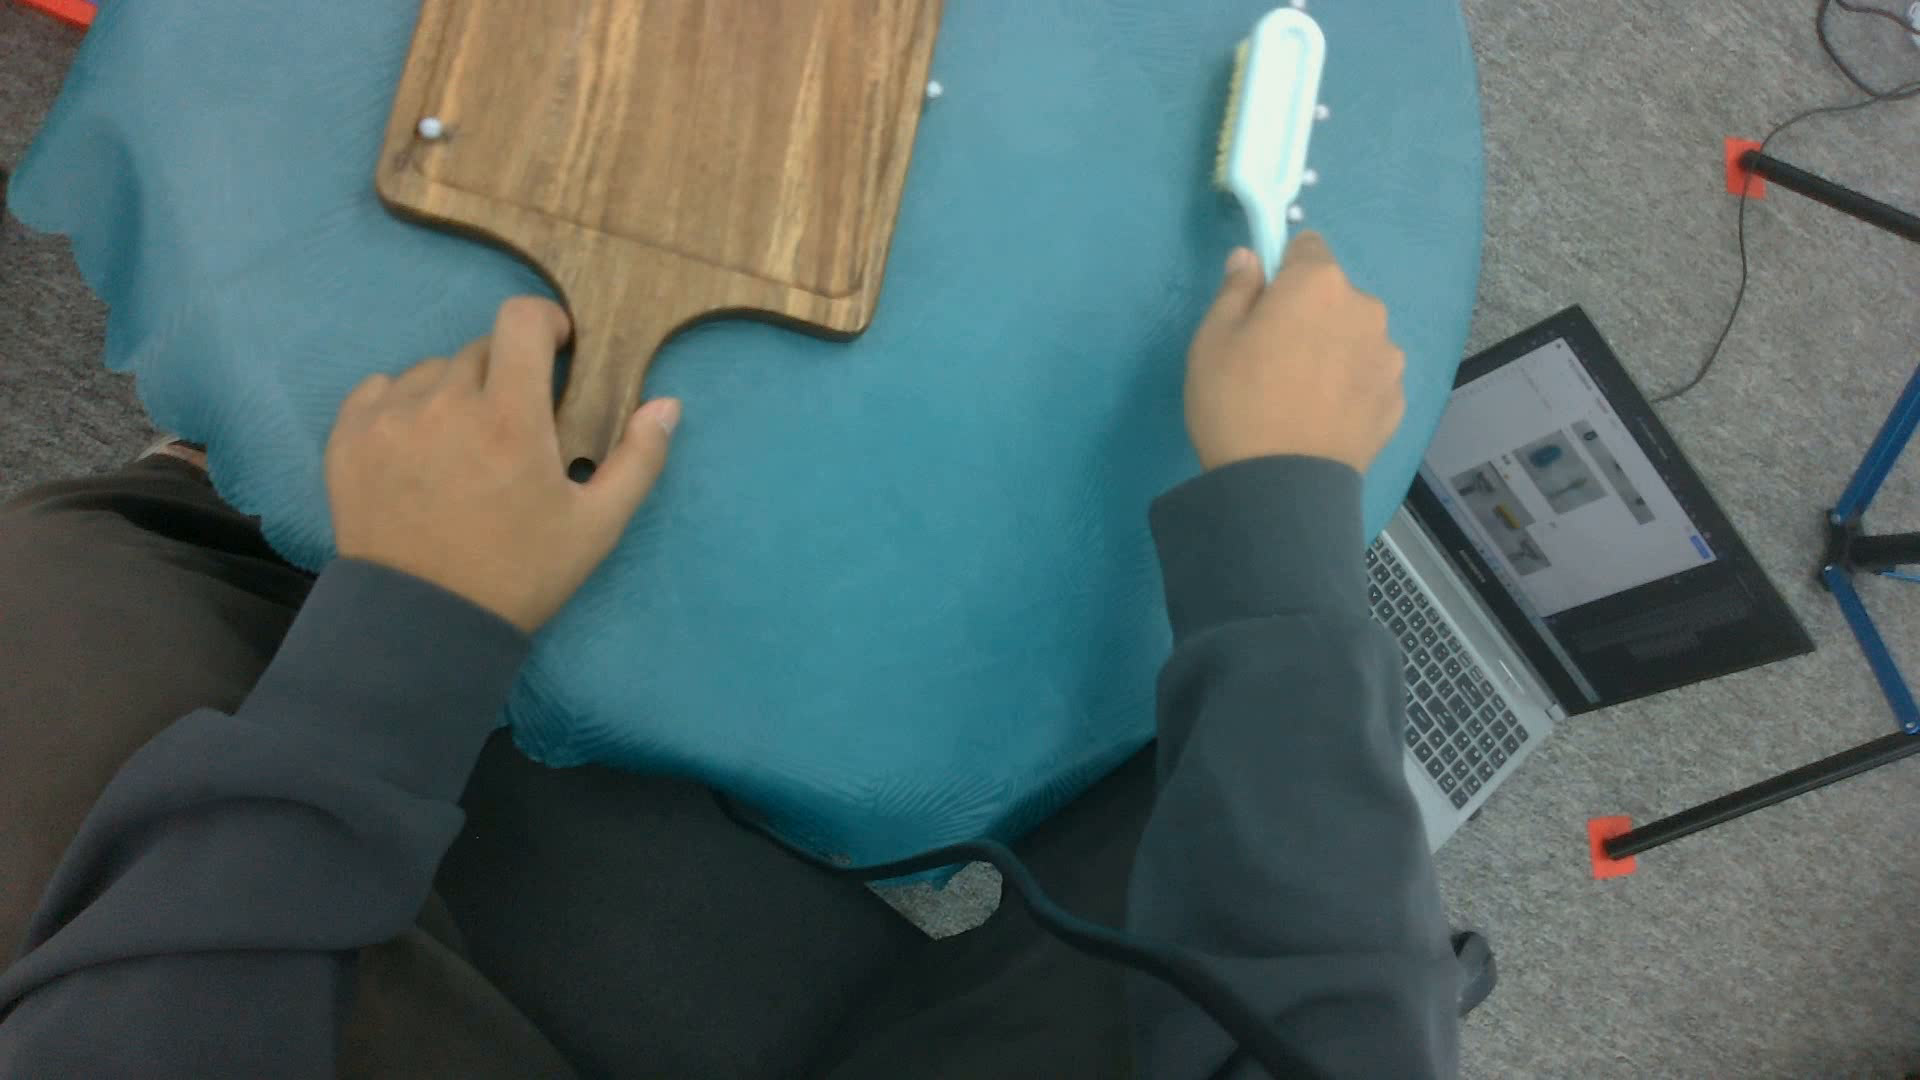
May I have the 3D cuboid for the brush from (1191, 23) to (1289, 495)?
[{"bbox_3d":[0.128,-0.127,0.625,0.038,0.049,0.229,6,70,-15],"label":"brush"}]

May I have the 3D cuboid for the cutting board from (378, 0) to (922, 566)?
[{"bbox_3d":[-0.127,-0.163,0.579,0.201,0.023,0.352,11,81,-15],"label":"cutting board"}]
